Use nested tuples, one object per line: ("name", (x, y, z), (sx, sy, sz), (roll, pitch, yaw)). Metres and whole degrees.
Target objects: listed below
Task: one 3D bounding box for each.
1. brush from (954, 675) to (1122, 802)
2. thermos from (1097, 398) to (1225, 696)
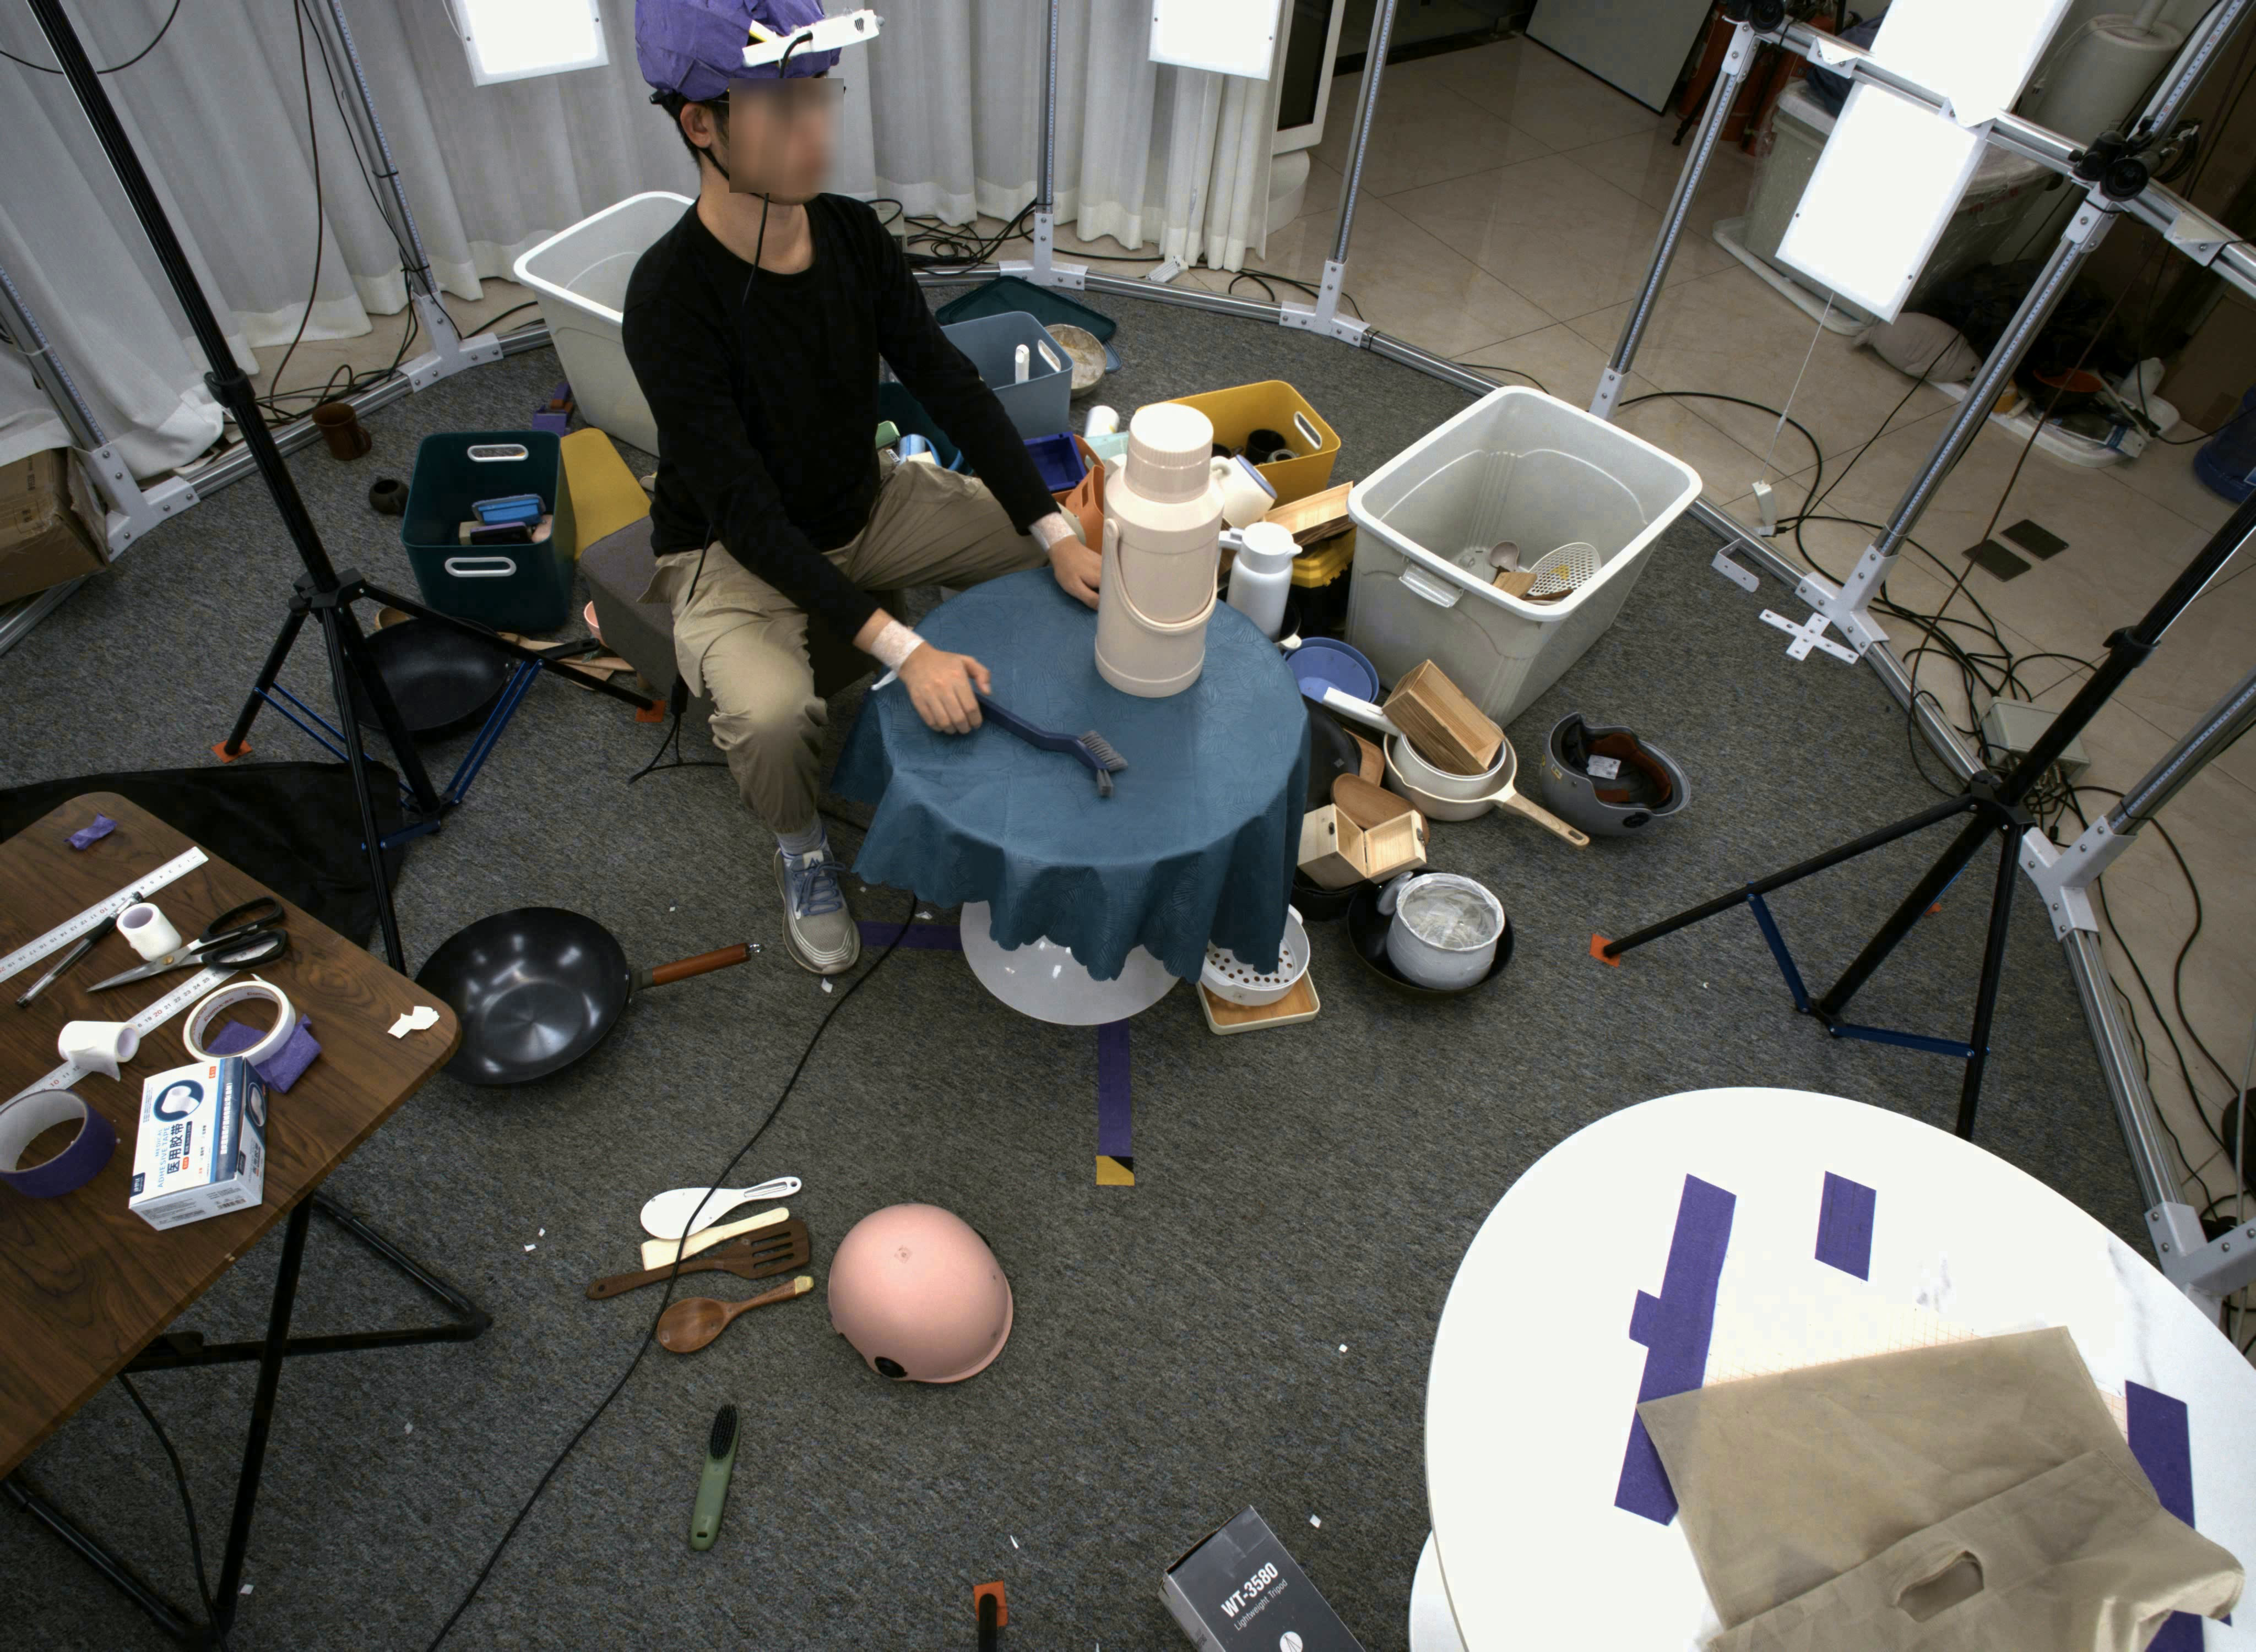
("brush", (-0.134, -0.124, 1.747), (0.275, 0.033, 0.097), (24, 51, 14))
("thermos", (0.036, -0.380, 1.747), (0.176, 0.396, 0.211), (-28, 57, -24))
